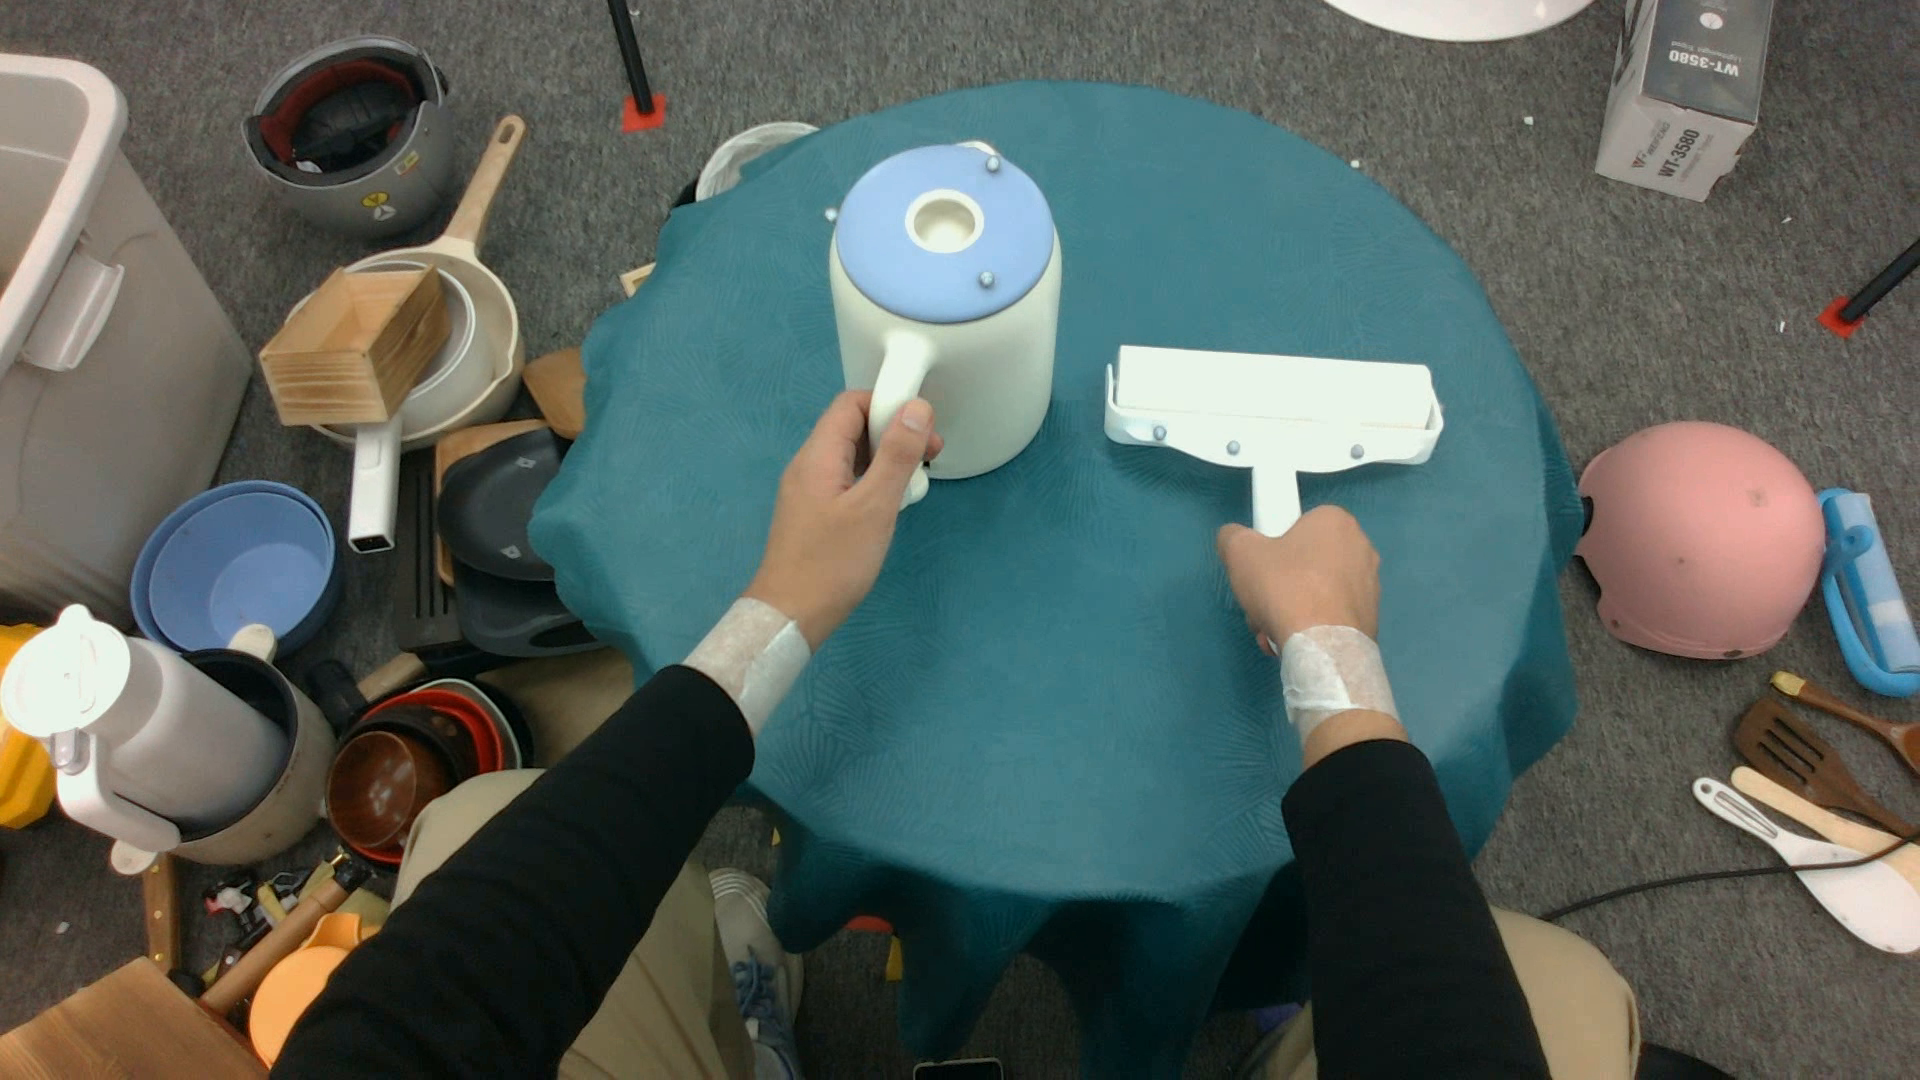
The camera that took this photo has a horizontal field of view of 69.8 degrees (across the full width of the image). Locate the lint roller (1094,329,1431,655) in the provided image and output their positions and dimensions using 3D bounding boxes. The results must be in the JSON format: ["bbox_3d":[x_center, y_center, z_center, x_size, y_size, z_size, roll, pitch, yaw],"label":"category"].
[{"bbox_3d":[0.181,-0.033,0.801,0.203,0.048,0.226,5,49,-2],"label":"lint roller"}]

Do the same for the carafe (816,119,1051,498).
[{"bbox_3d":[-0.021,-0.119,0.803,0.132,0.182,0.192,13,67,7],"label":"carafe"}]
